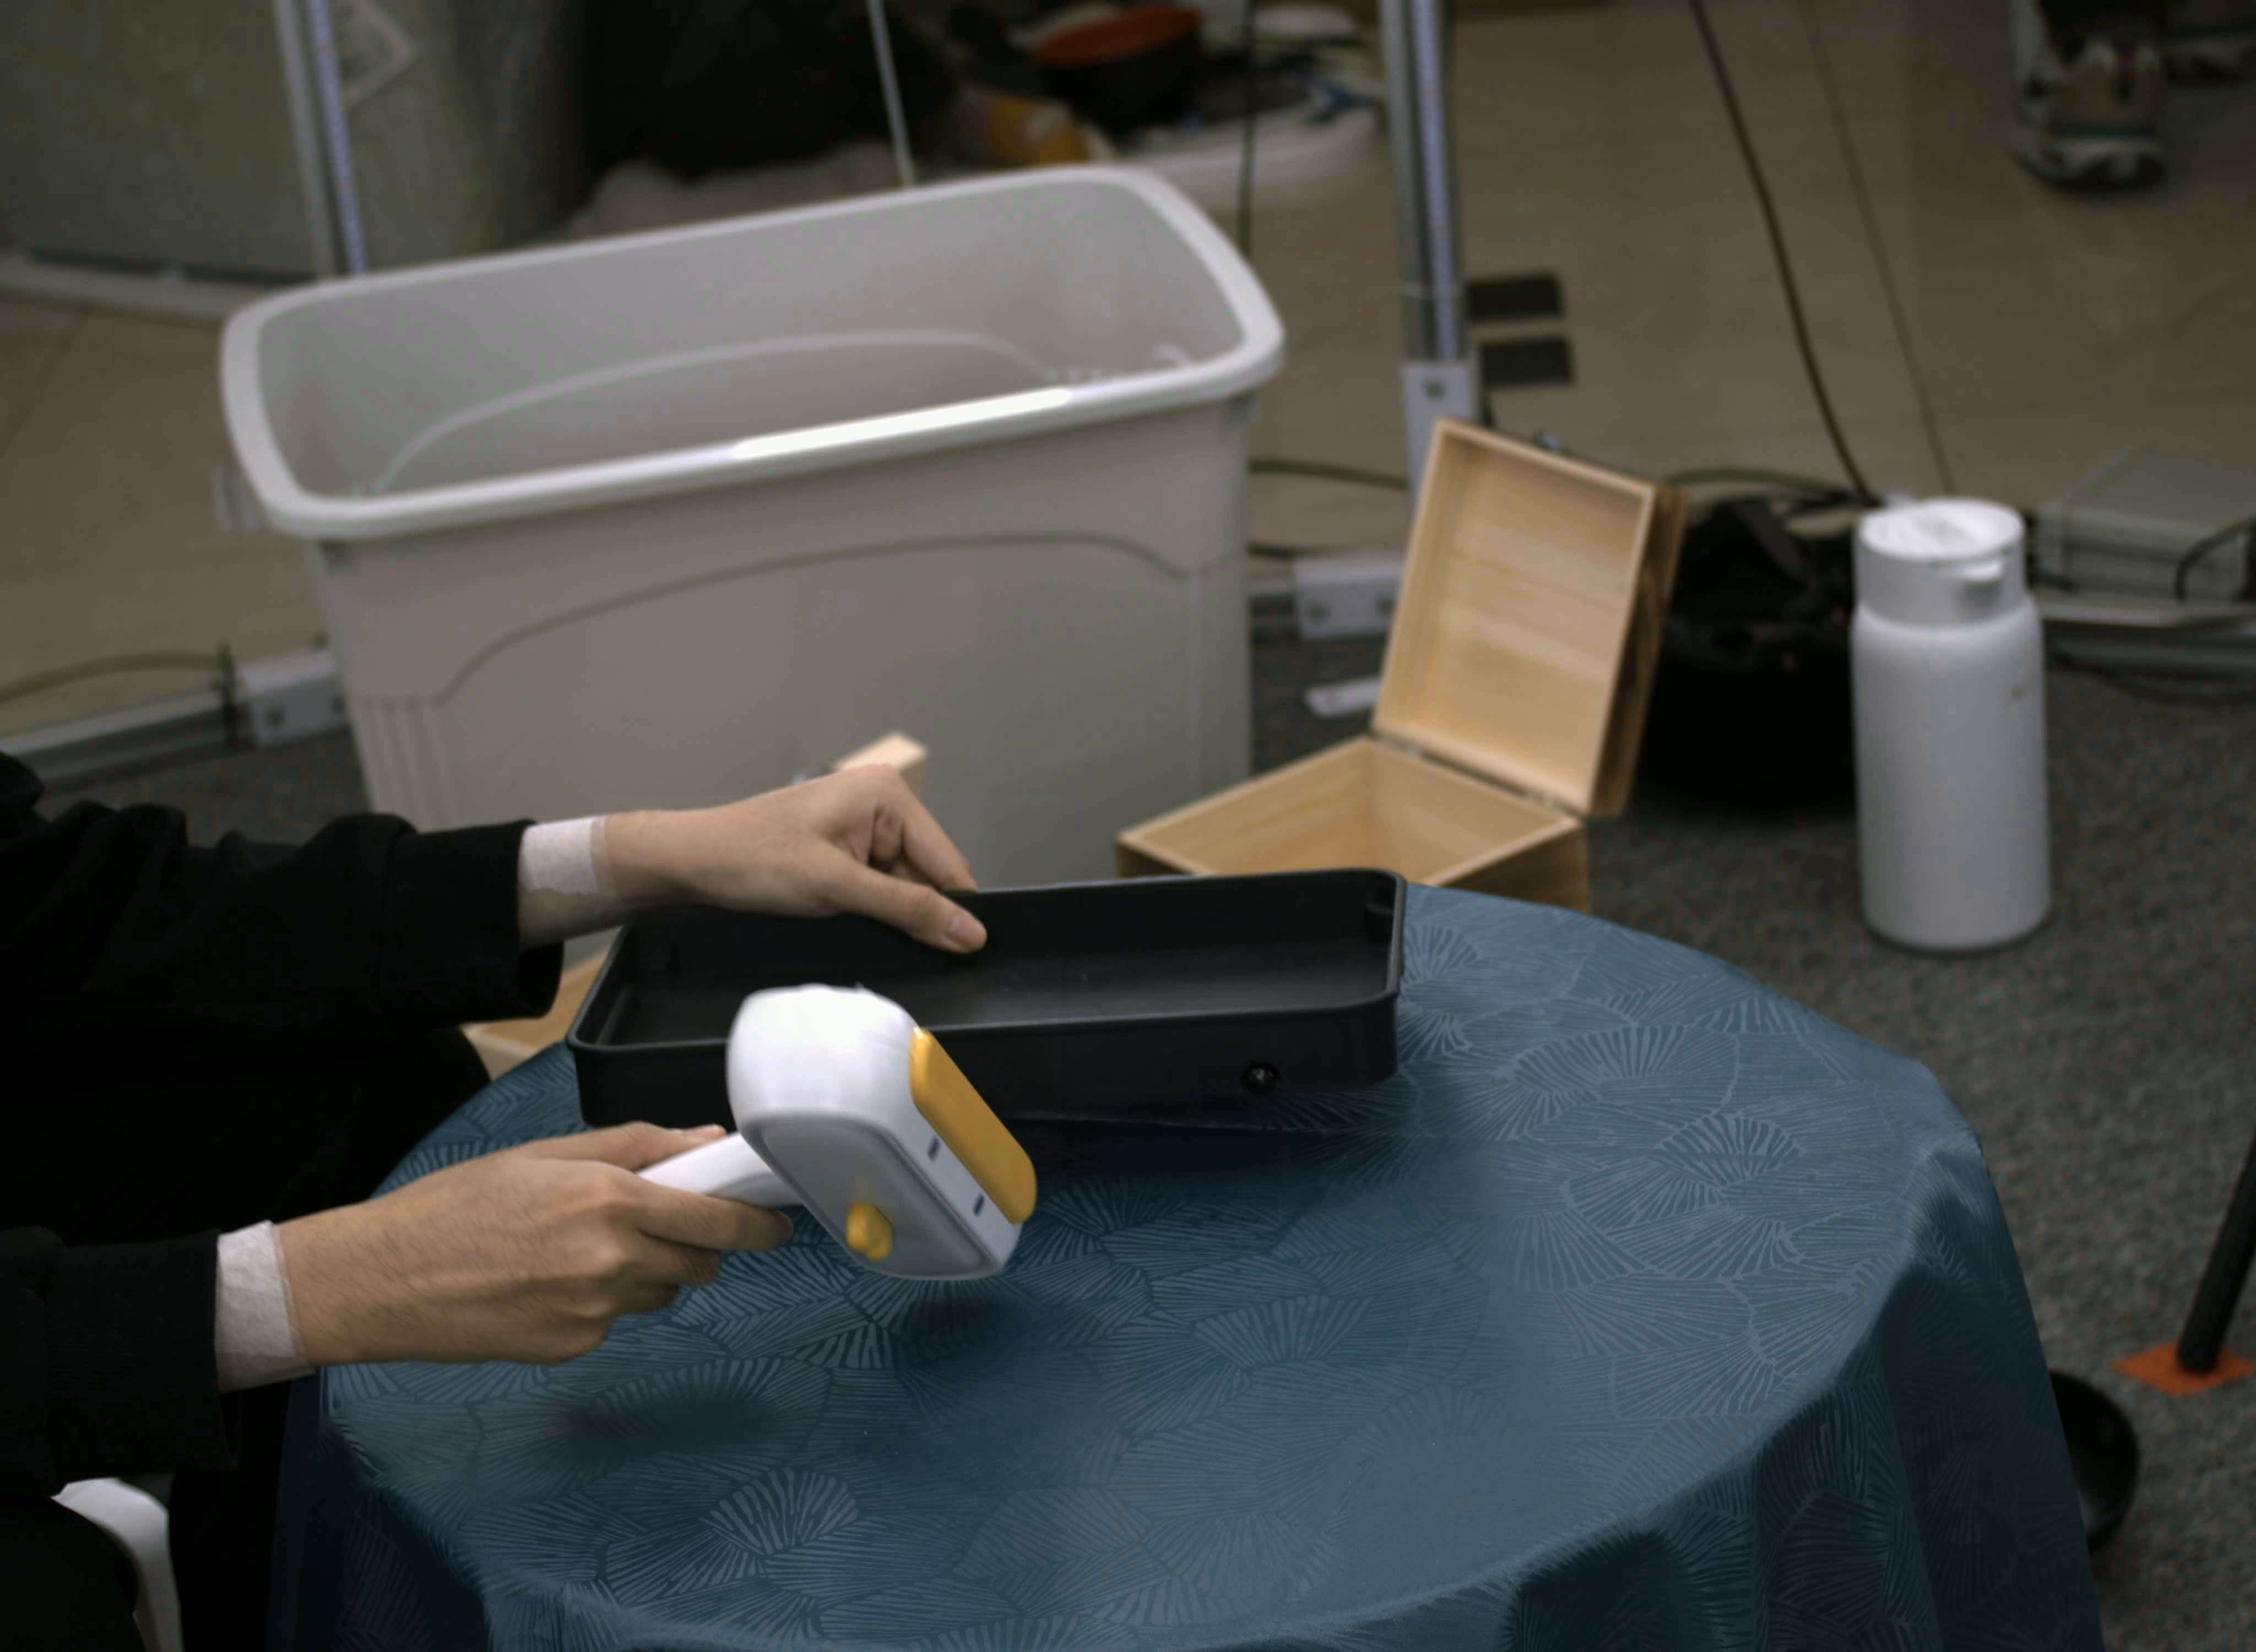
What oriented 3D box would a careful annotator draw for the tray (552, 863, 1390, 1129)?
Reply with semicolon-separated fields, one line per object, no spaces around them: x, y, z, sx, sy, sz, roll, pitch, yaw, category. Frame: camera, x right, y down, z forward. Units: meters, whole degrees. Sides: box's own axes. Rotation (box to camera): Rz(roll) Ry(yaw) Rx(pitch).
-0.056;0.064;2.202;0.317;0.037;0.182;-4;15;4;tray

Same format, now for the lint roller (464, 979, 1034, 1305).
-0.145;0.123;2.002;0.192;0.195;0.073;-11;68;15;lint roller
